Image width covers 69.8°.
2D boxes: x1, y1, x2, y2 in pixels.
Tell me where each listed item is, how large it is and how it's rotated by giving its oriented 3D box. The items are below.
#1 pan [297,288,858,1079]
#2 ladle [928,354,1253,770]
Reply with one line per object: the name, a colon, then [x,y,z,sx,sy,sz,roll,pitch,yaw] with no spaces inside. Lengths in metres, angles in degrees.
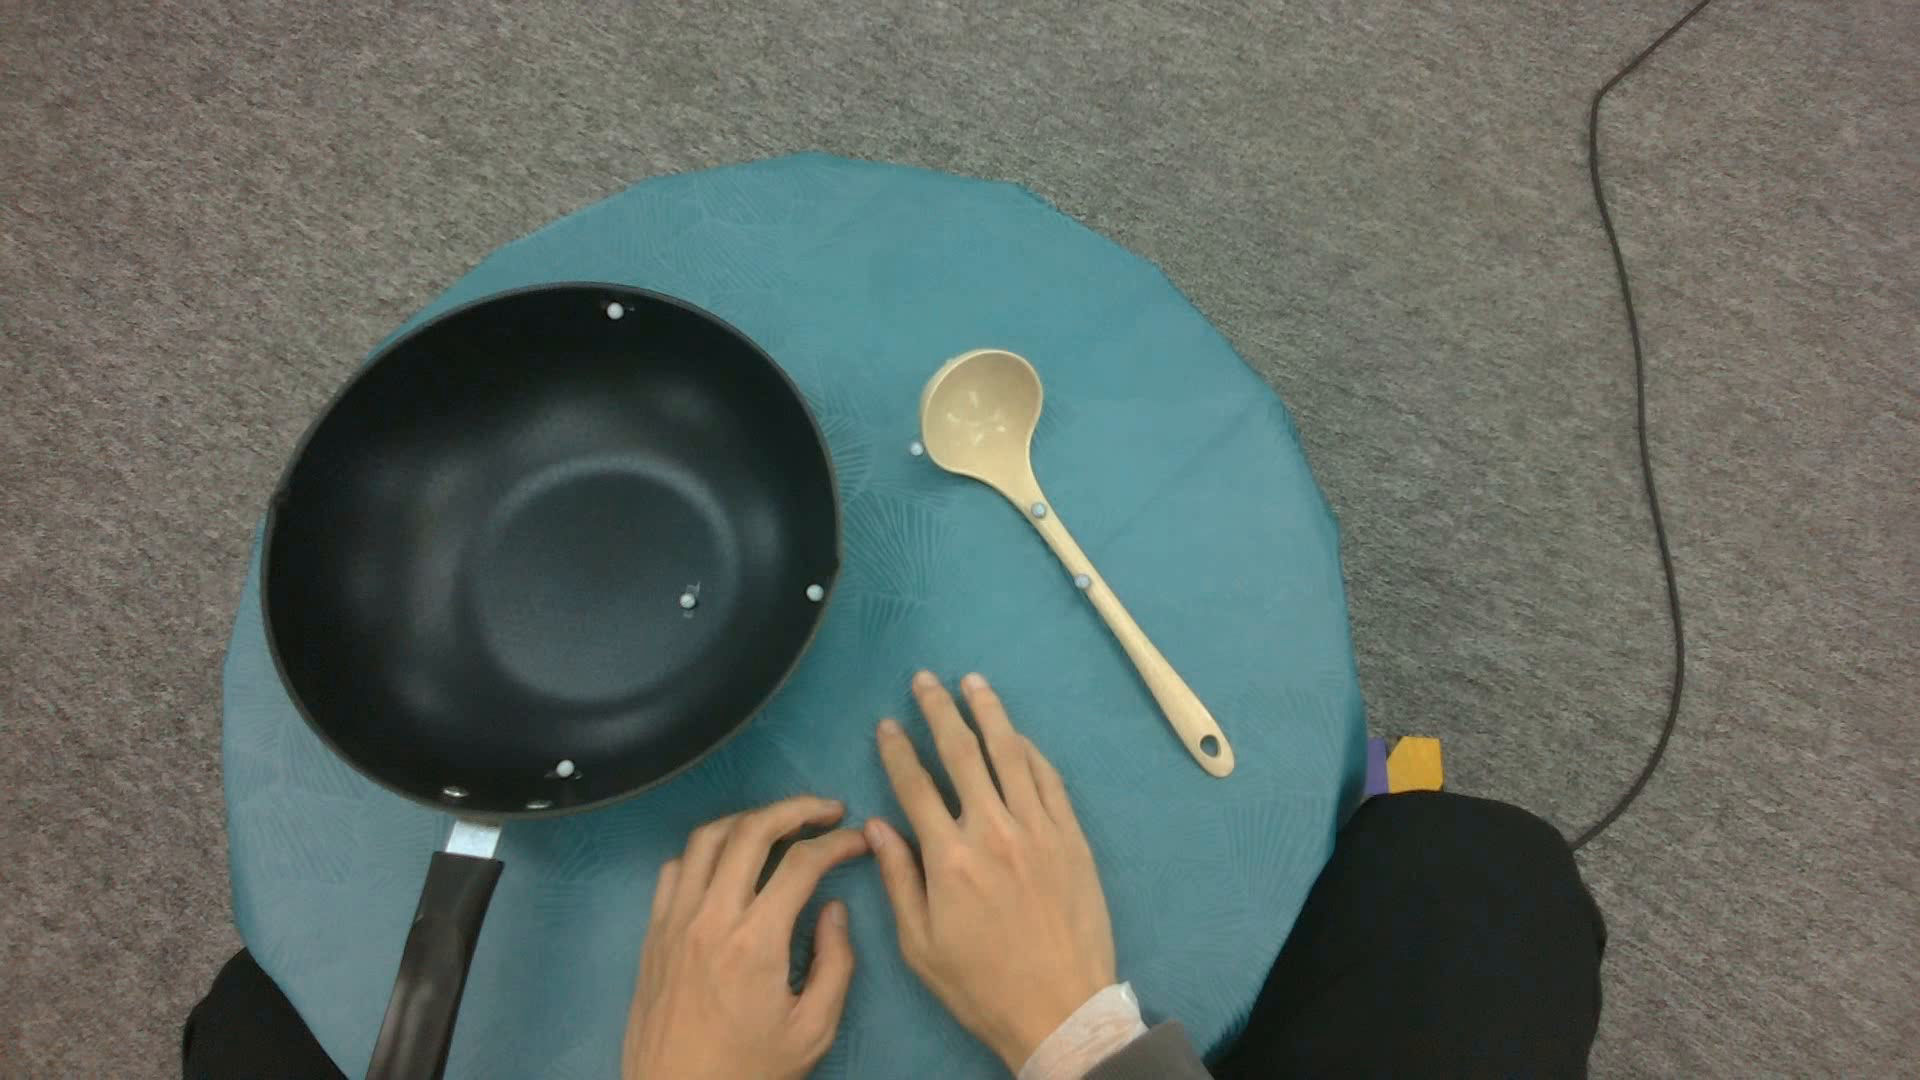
pan: [-0.205,0.096,0.692,0.288,0.086,0.465,7,71,6]
ladle: [0.074,0.008,0.715,0.072,0.072,0.255,-33,70,-14]
